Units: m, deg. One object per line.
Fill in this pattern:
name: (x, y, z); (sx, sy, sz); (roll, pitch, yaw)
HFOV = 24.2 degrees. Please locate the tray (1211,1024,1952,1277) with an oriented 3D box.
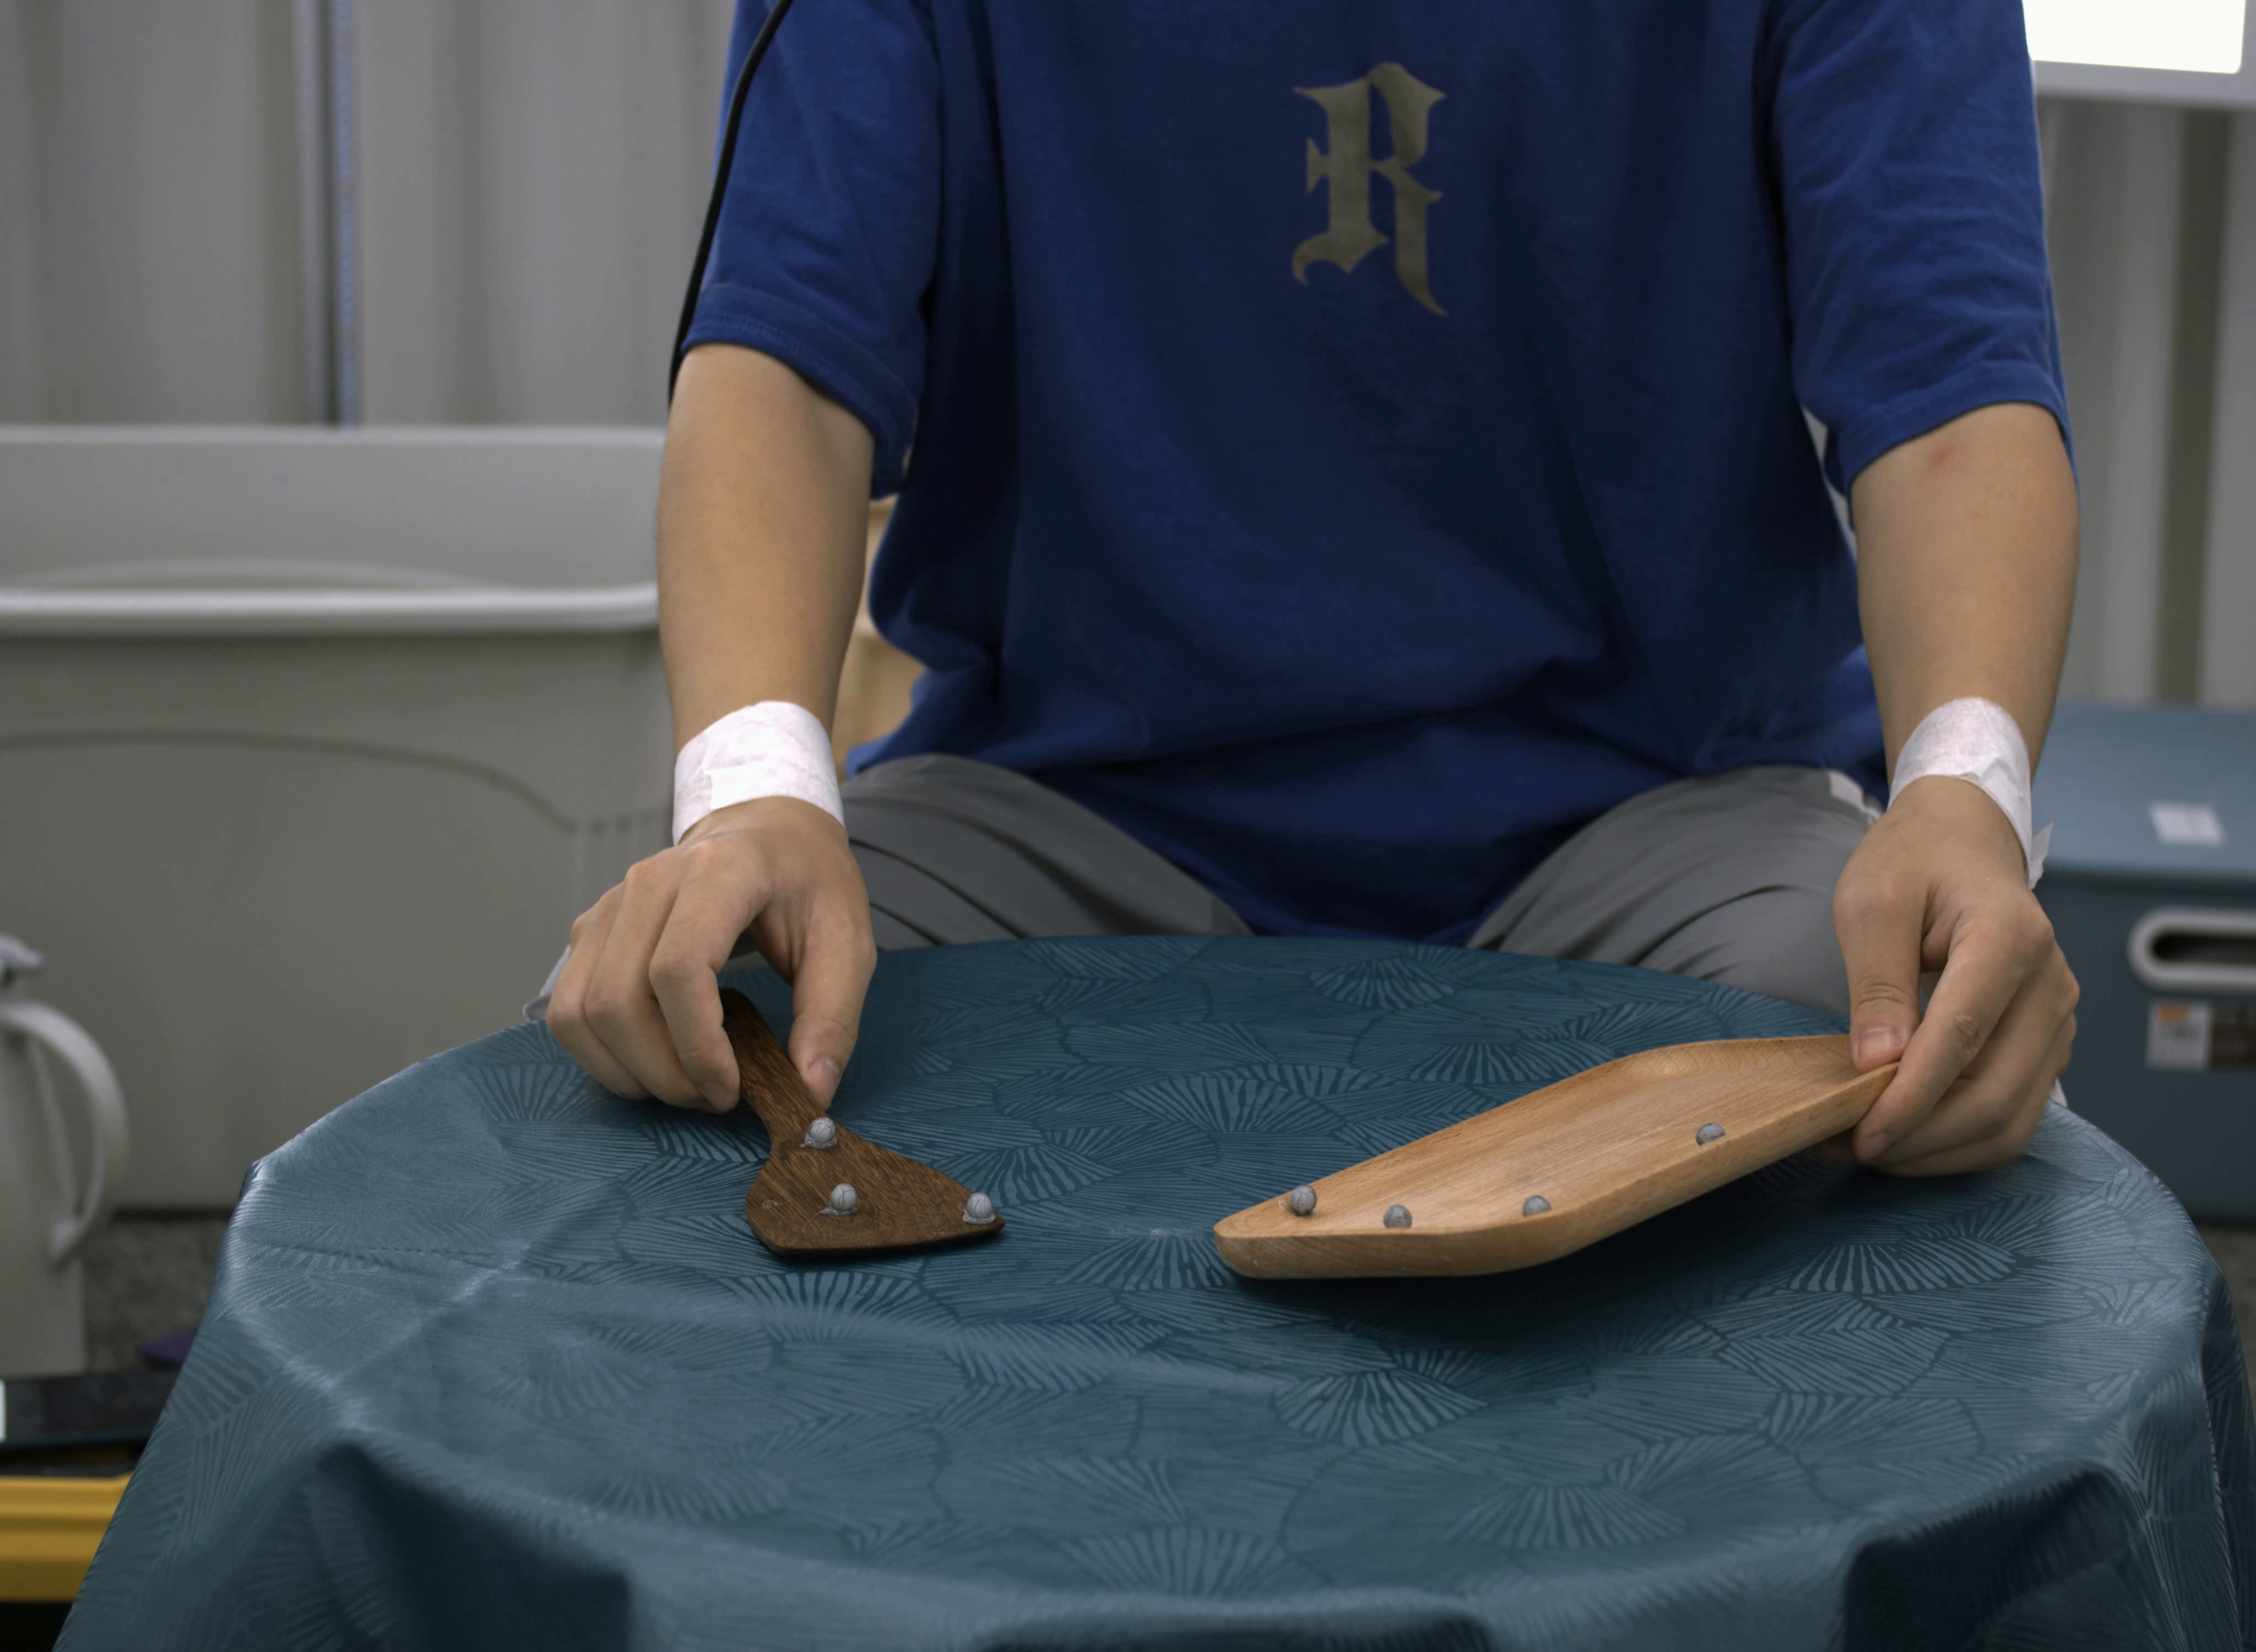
tray: (0.141, 0.097, 1.596); (0.129, 0.023, 0.252); (-2, 10, 42)

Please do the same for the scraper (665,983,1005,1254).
scraper: (-0.105, 0.091, 1.651); (0.076, 0.011, 0.208); (-3, 22, -21)
